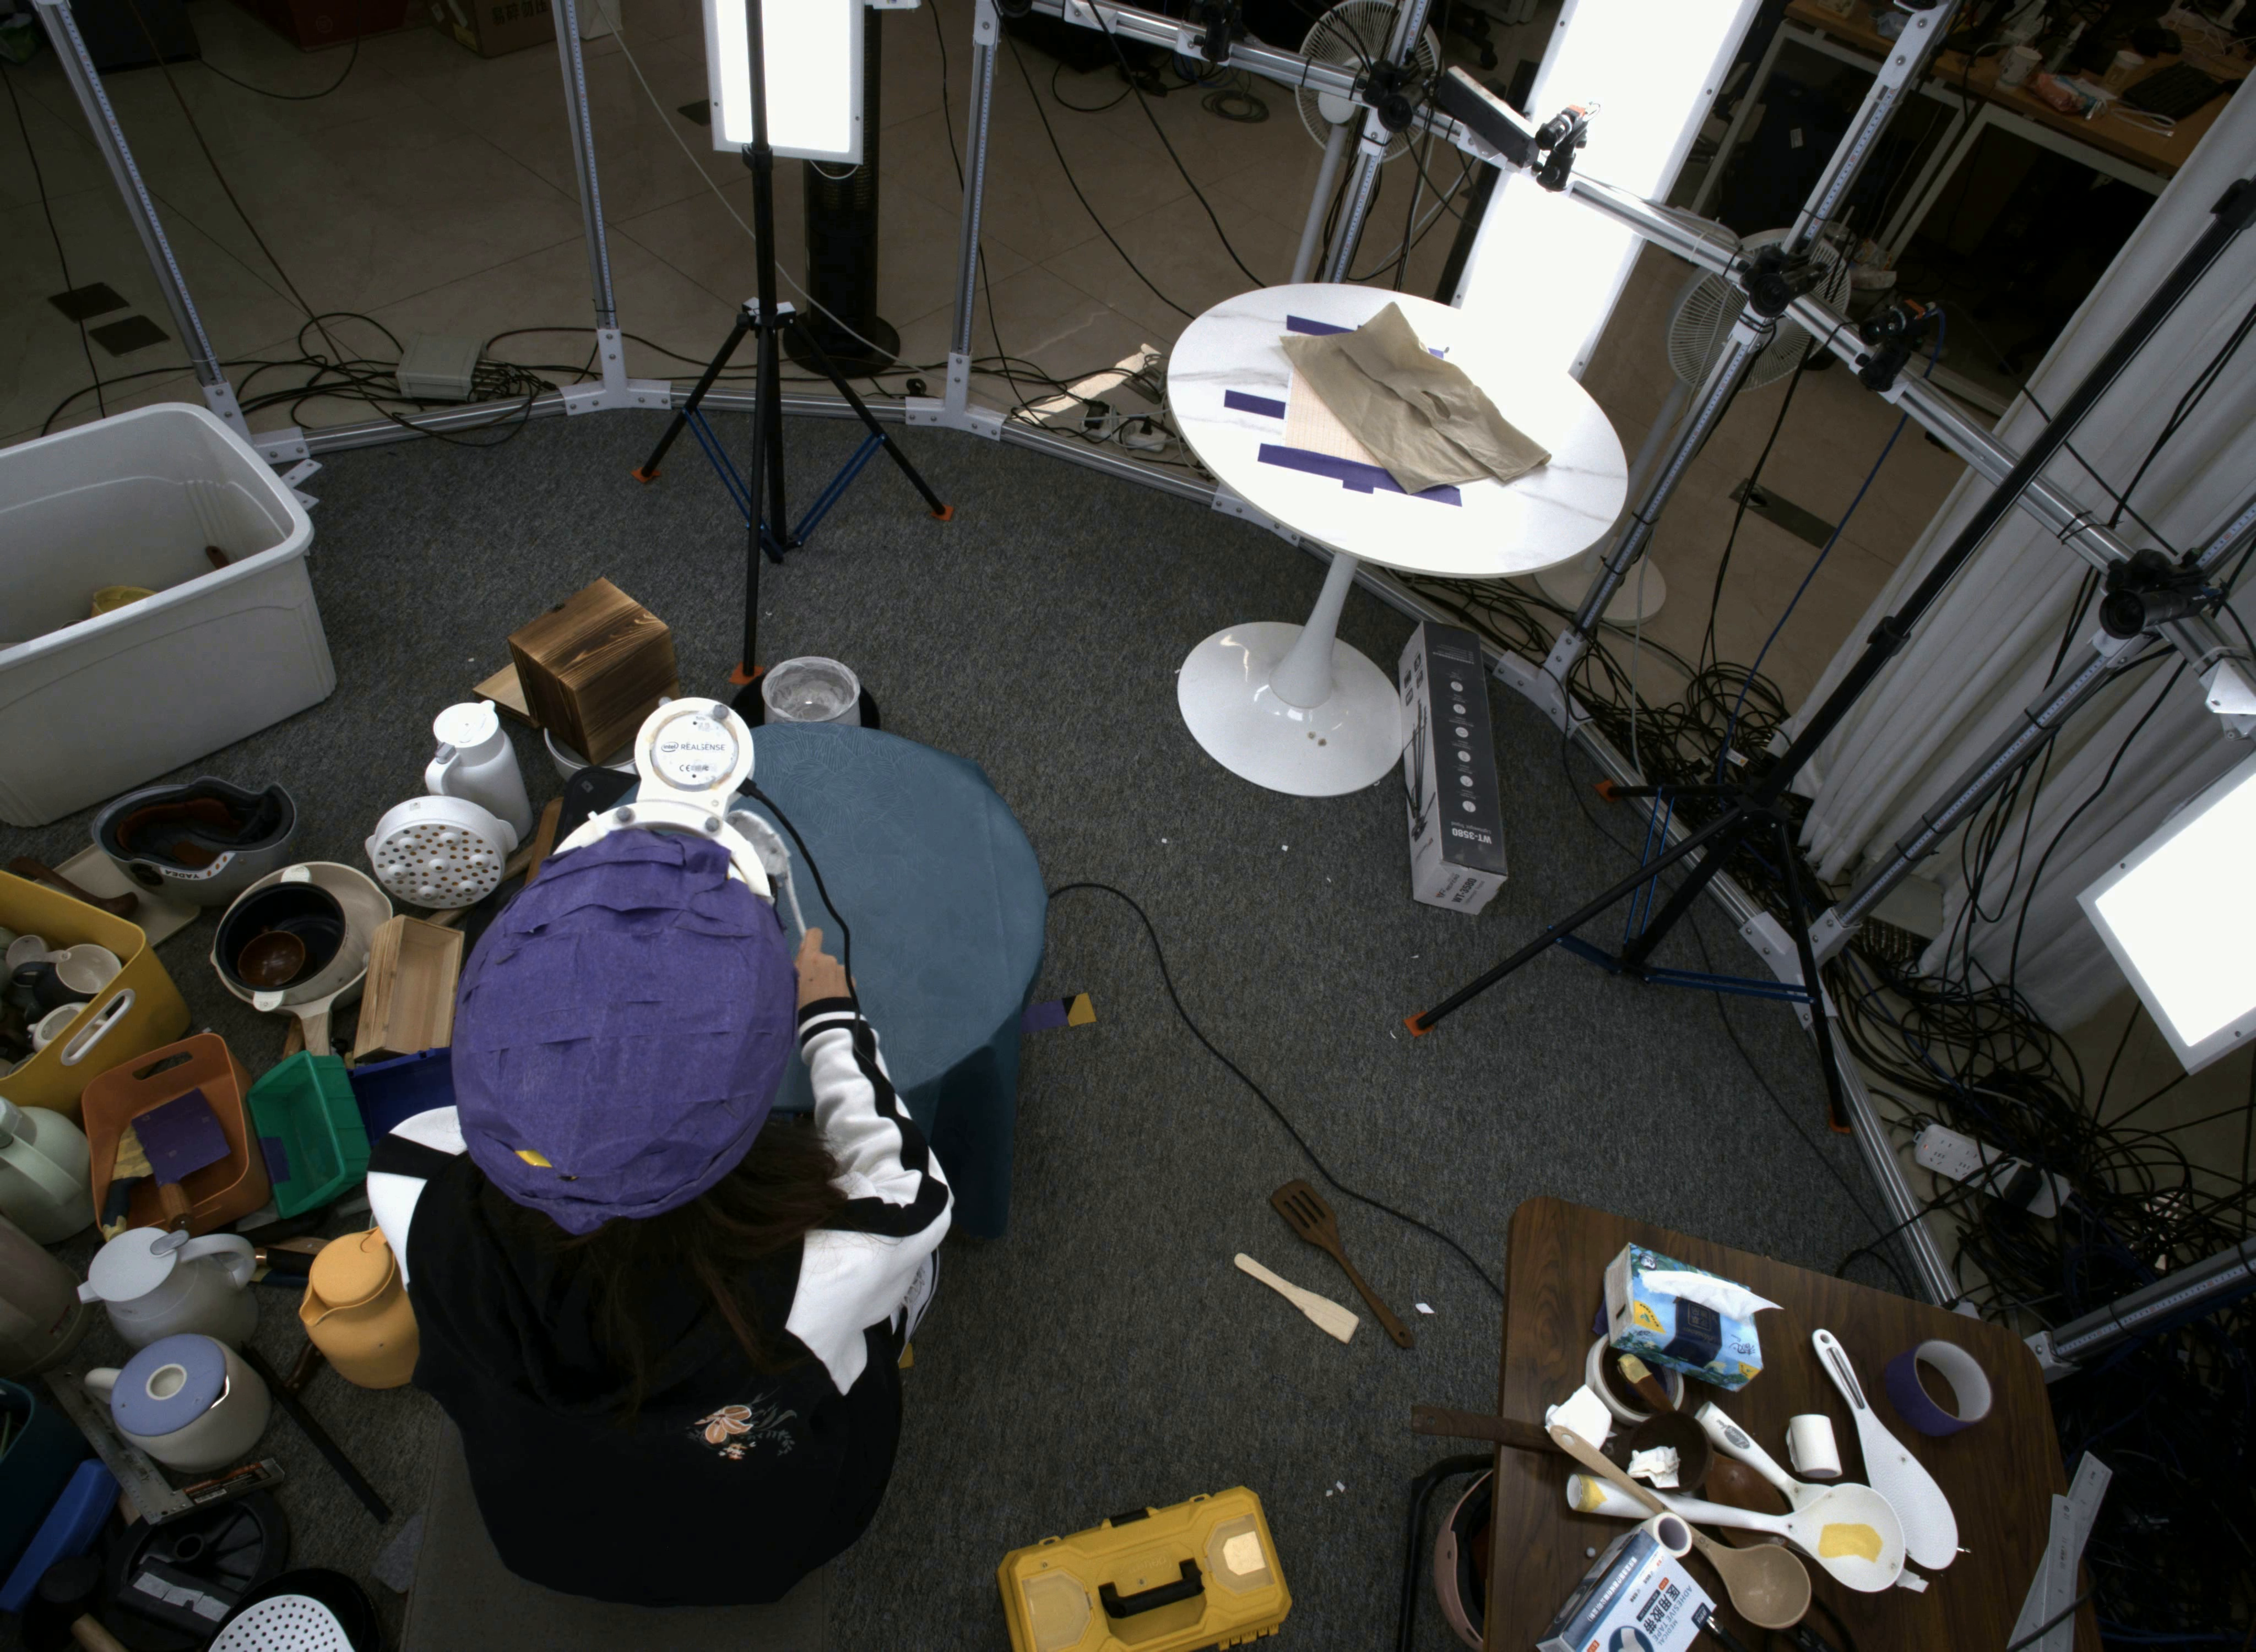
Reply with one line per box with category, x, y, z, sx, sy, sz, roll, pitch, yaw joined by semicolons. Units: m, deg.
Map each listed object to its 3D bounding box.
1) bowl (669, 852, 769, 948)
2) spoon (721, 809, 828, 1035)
bowl;-0.498;0.095;1.580;0.118;0.071;0.116;7;52;-8
spoon;-0.406;0.109;1.480;0.060;0.100;0.275;-11;74;-29
